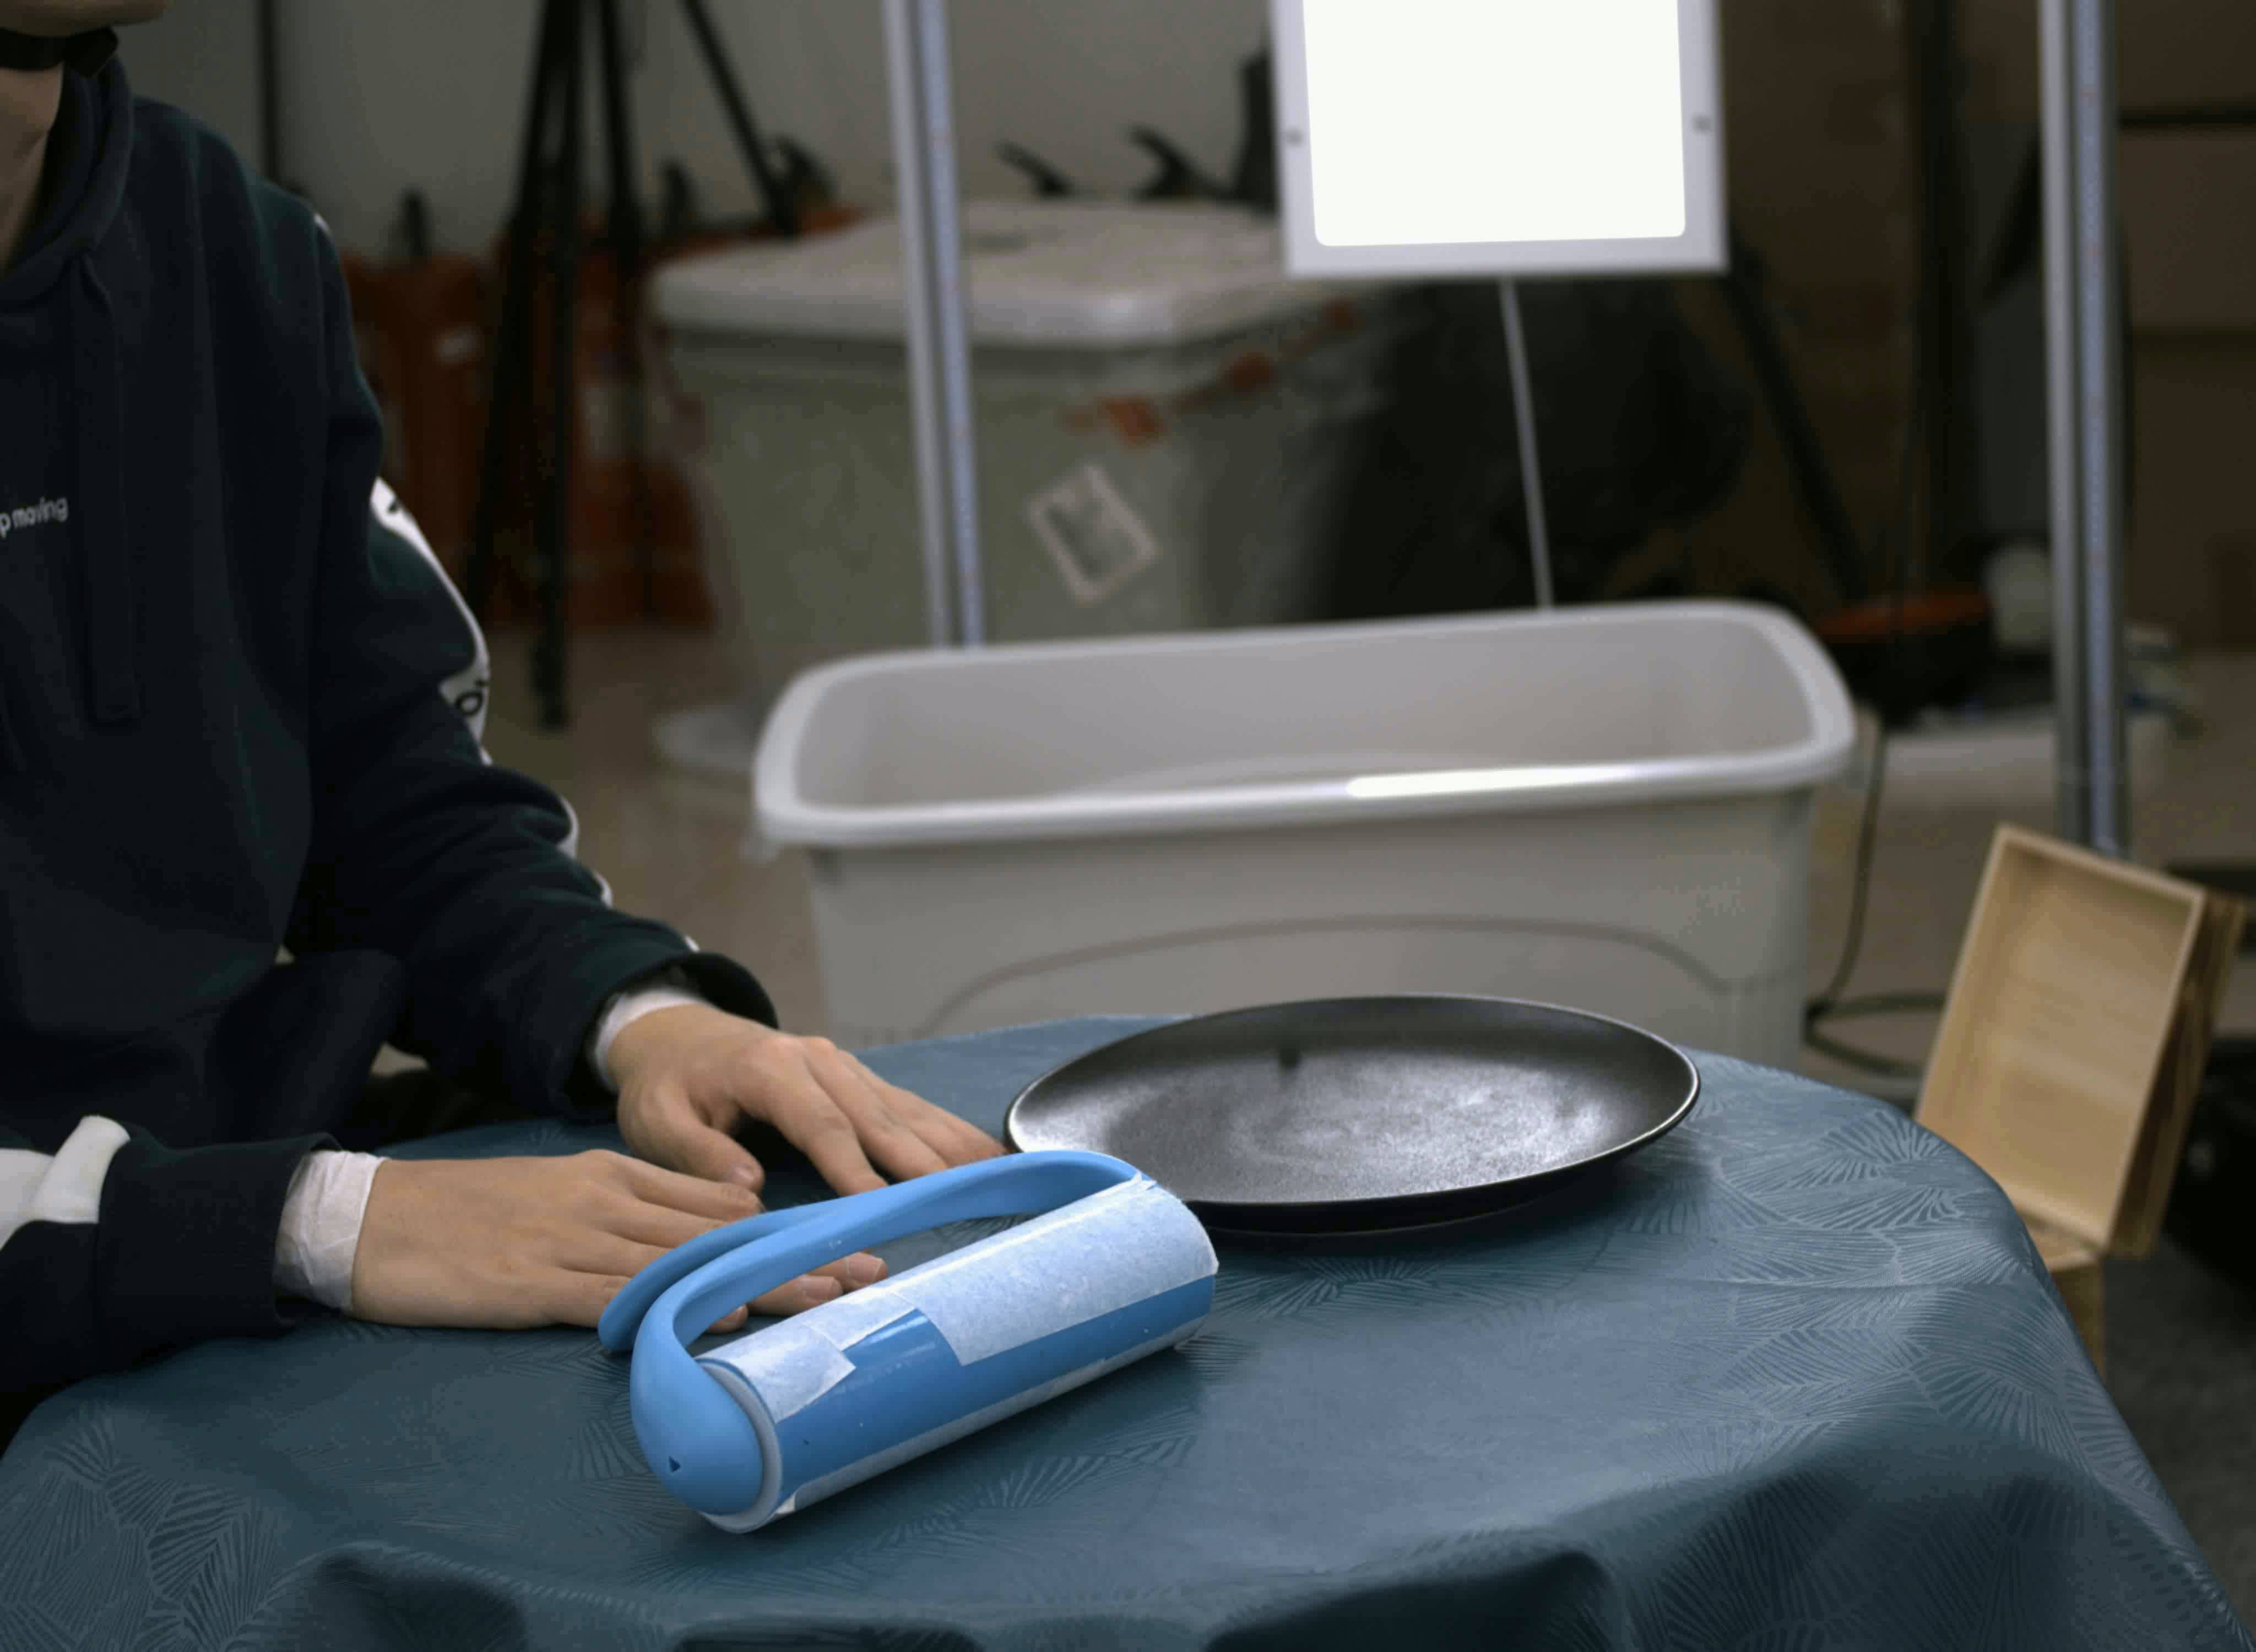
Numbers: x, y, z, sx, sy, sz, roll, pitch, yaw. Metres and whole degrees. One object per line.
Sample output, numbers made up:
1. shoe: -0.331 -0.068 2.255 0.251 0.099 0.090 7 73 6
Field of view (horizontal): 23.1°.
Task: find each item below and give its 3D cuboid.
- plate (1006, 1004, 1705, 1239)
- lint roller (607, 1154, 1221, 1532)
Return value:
1. plate: 0.080 0.104 1.910 0.244 0.023 0.244 -5 14 0
2. lint roller: -0.099 0.152 1.709 0.184 0.068 0.223 7 19 40
